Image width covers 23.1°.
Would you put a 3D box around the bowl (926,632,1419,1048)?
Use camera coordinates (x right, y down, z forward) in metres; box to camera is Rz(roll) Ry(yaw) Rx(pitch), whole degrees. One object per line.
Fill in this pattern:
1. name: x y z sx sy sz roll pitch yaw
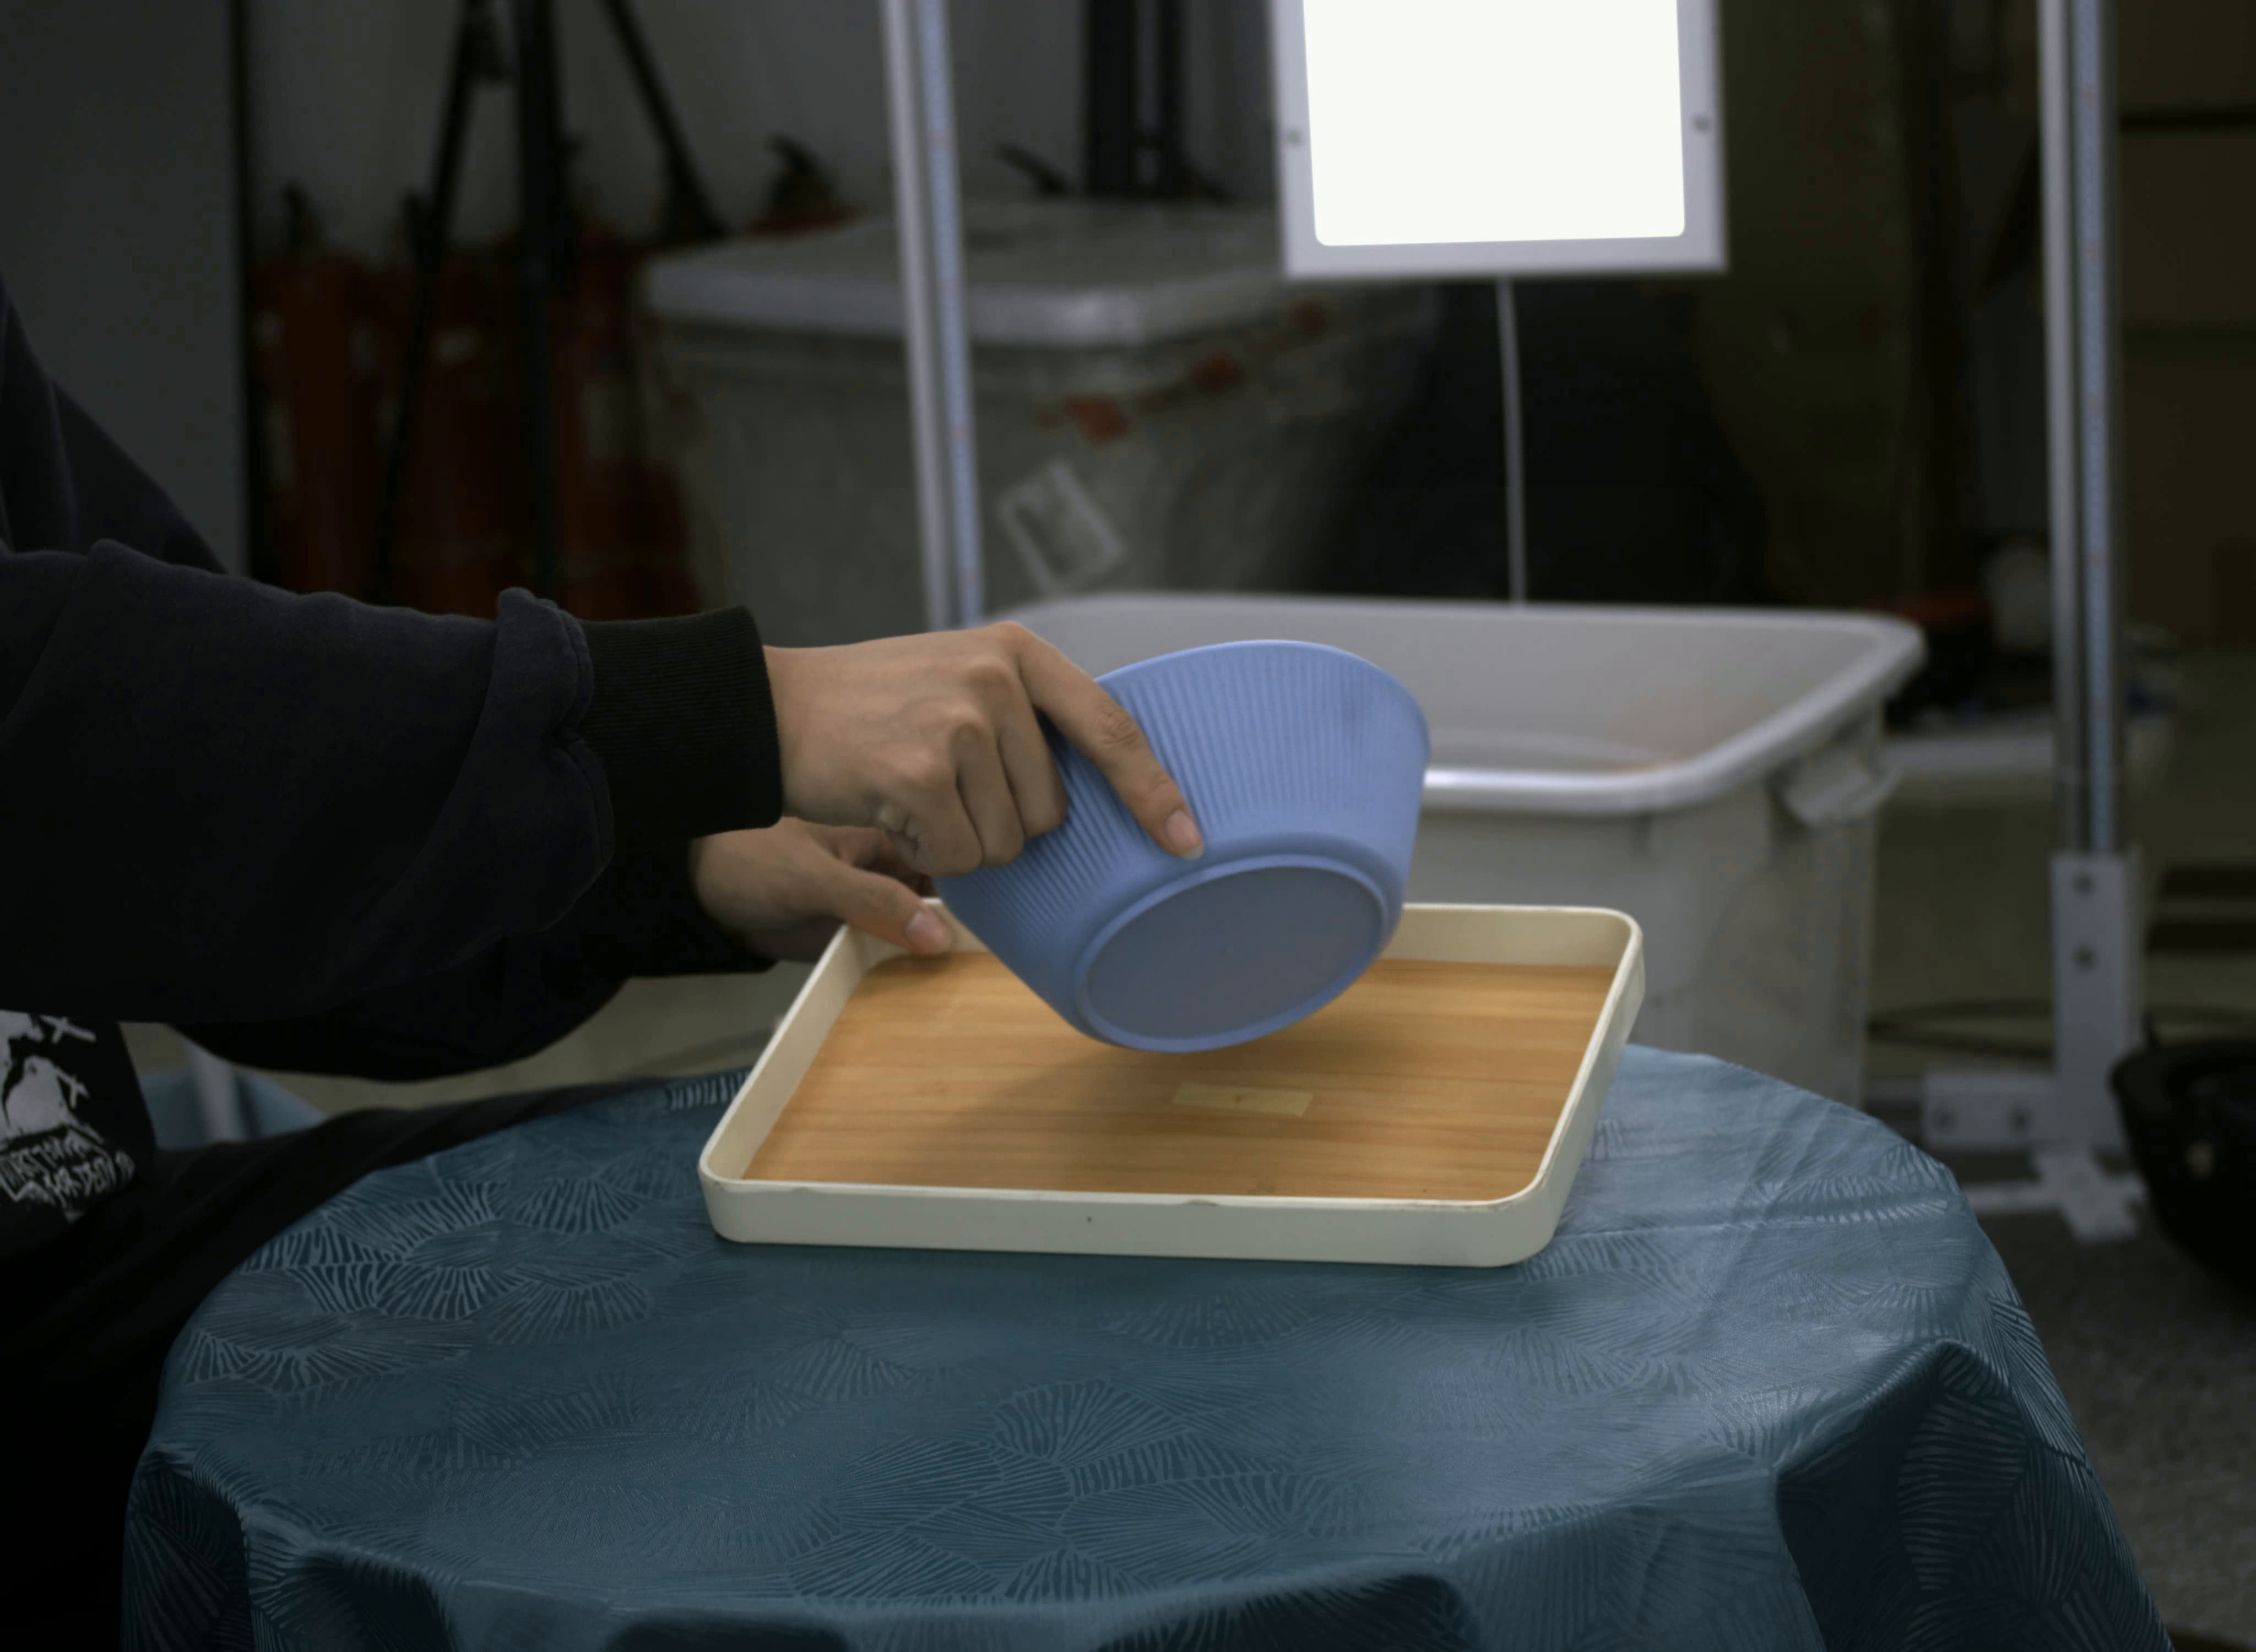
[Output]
1. bowl: 0.024 0.016 1.849 0.173 0.178 0.070 -7 55 -14

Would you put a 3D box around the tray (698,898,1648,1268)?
1. tray: 0.018 0.086 1.902 0.304 0.027 0.188 0 31 20
